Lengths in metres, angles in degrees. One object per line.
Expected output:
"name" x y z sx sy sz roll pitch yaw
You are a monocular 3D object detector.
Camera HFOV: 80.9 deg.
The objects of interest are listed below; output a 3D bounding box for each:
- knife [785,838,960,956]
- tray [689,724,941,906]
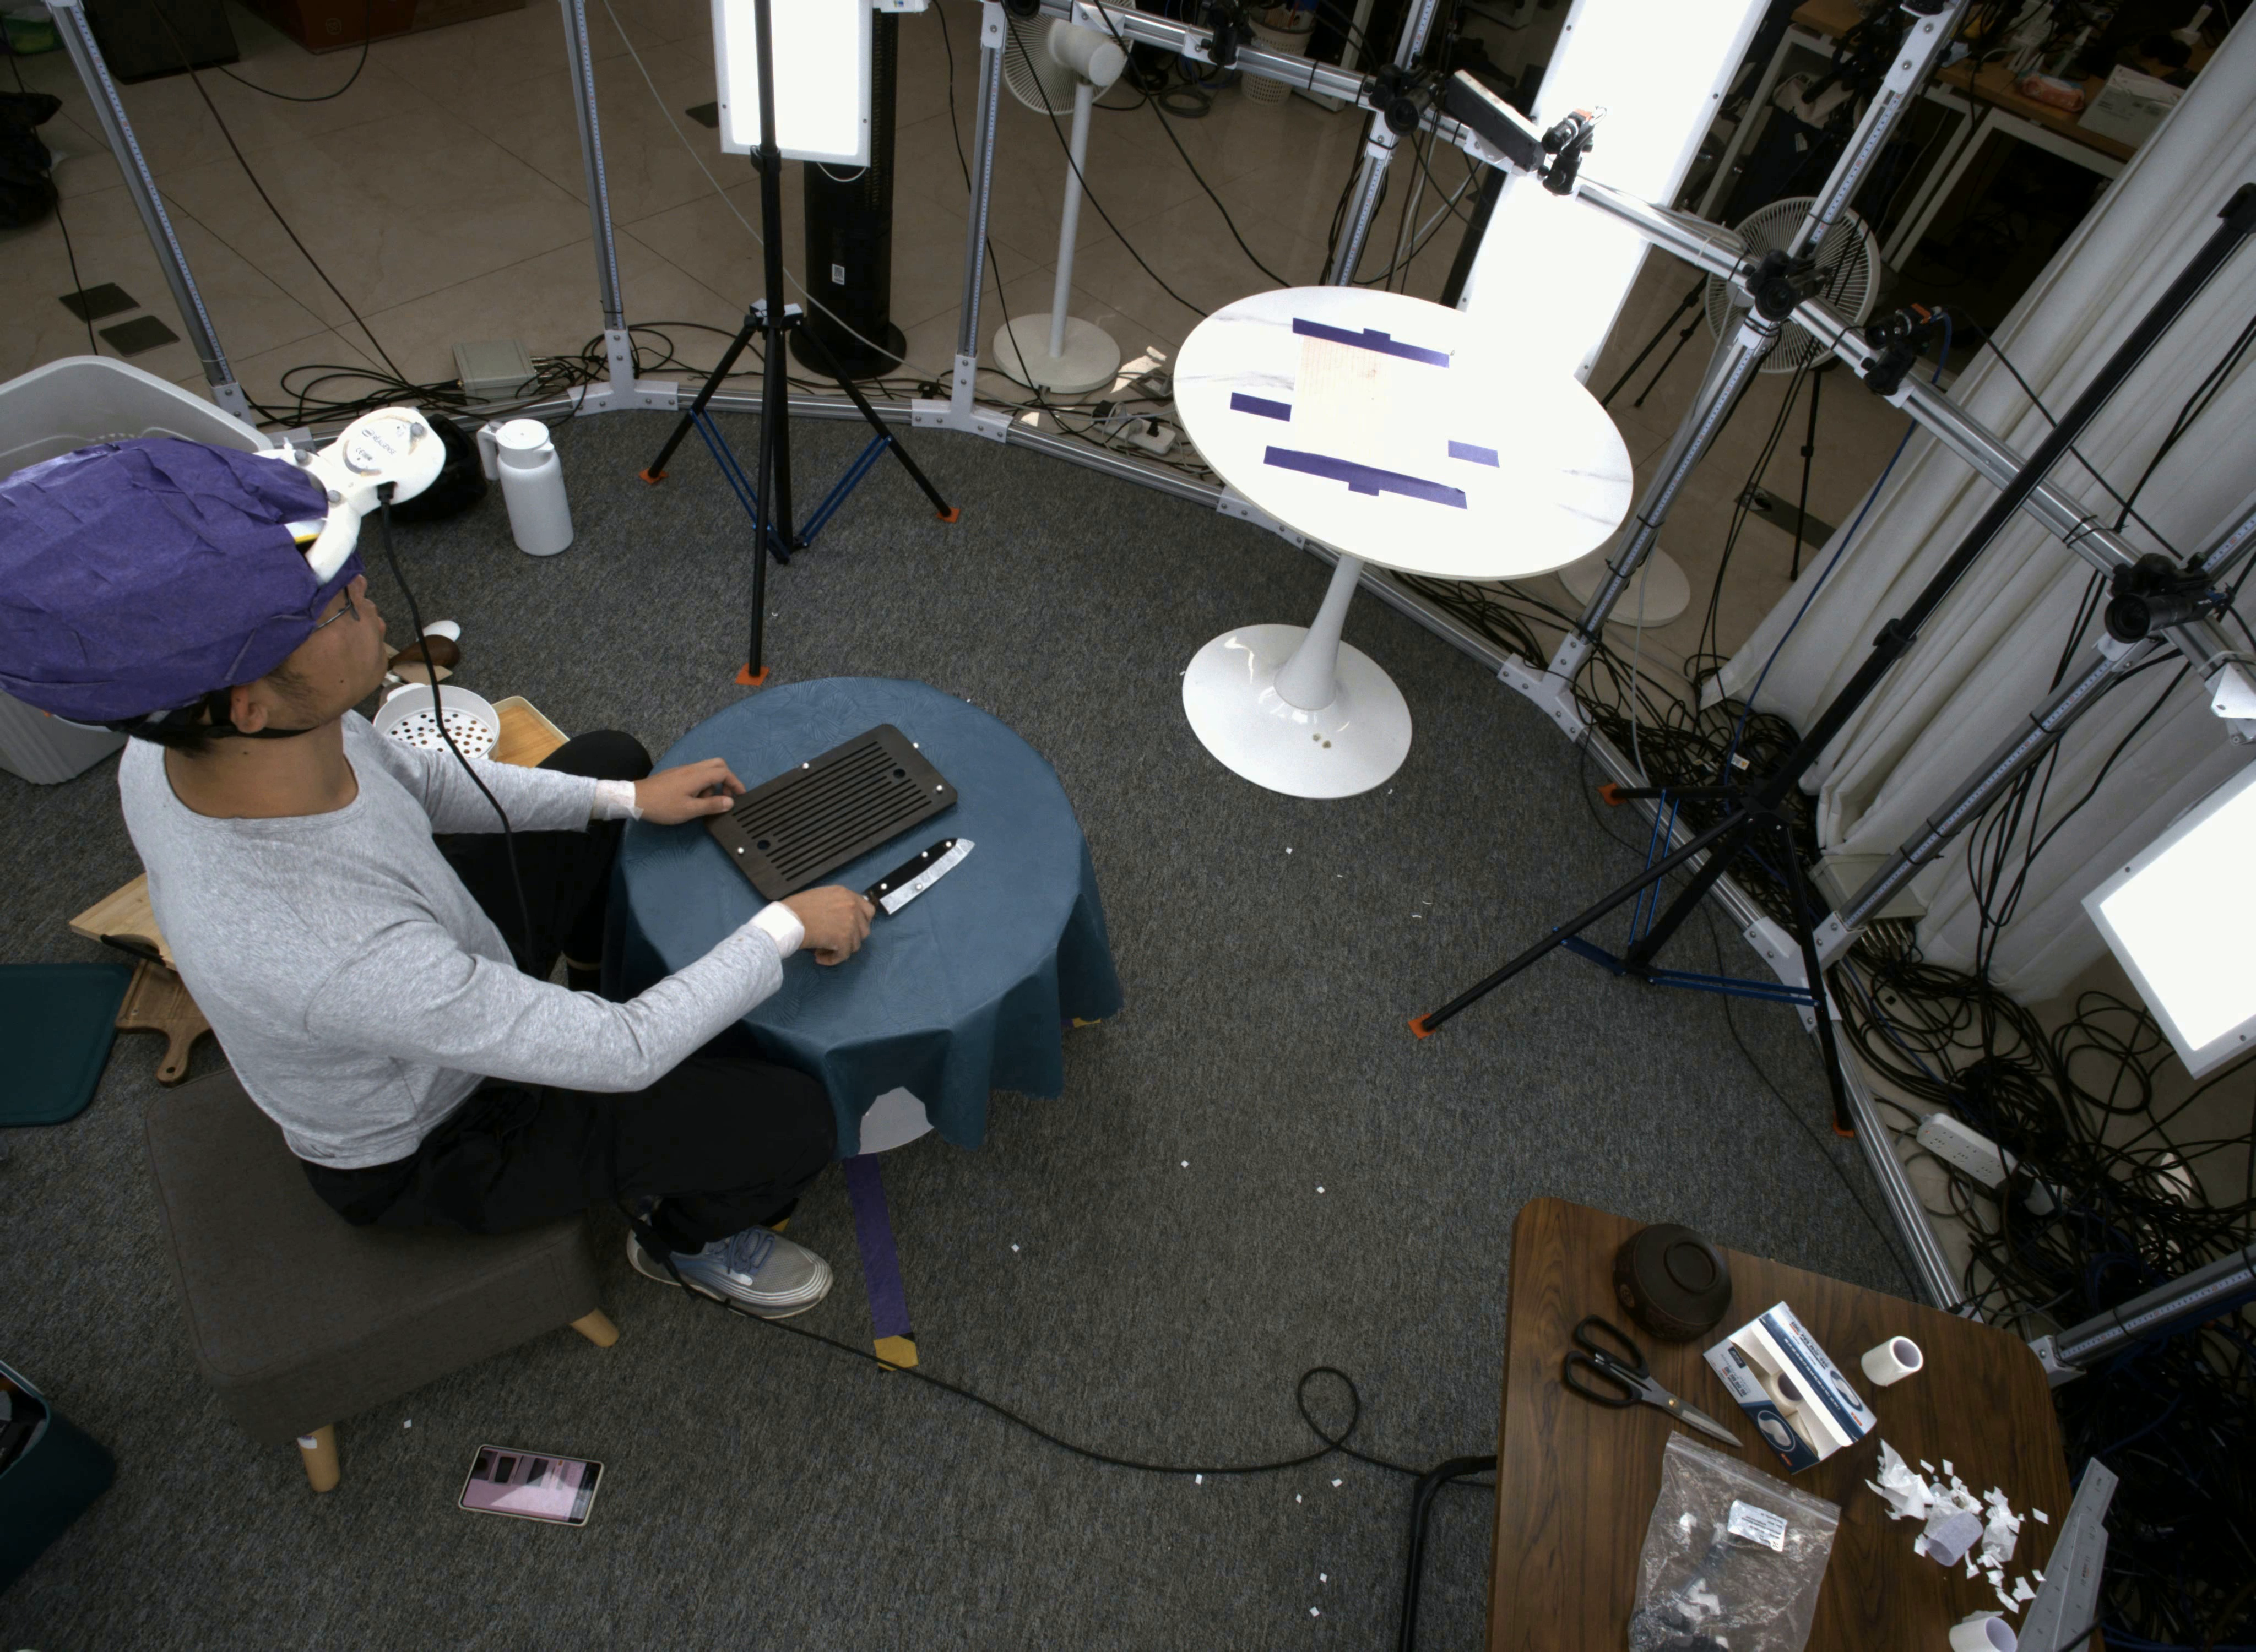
"knife" -0.323 0.085 1.678 0.290 0.020 0.050 -35 87 -38
"tray" -0.417 -0.020 1.741 0.307 0.019 0.166 -33 68 -31
